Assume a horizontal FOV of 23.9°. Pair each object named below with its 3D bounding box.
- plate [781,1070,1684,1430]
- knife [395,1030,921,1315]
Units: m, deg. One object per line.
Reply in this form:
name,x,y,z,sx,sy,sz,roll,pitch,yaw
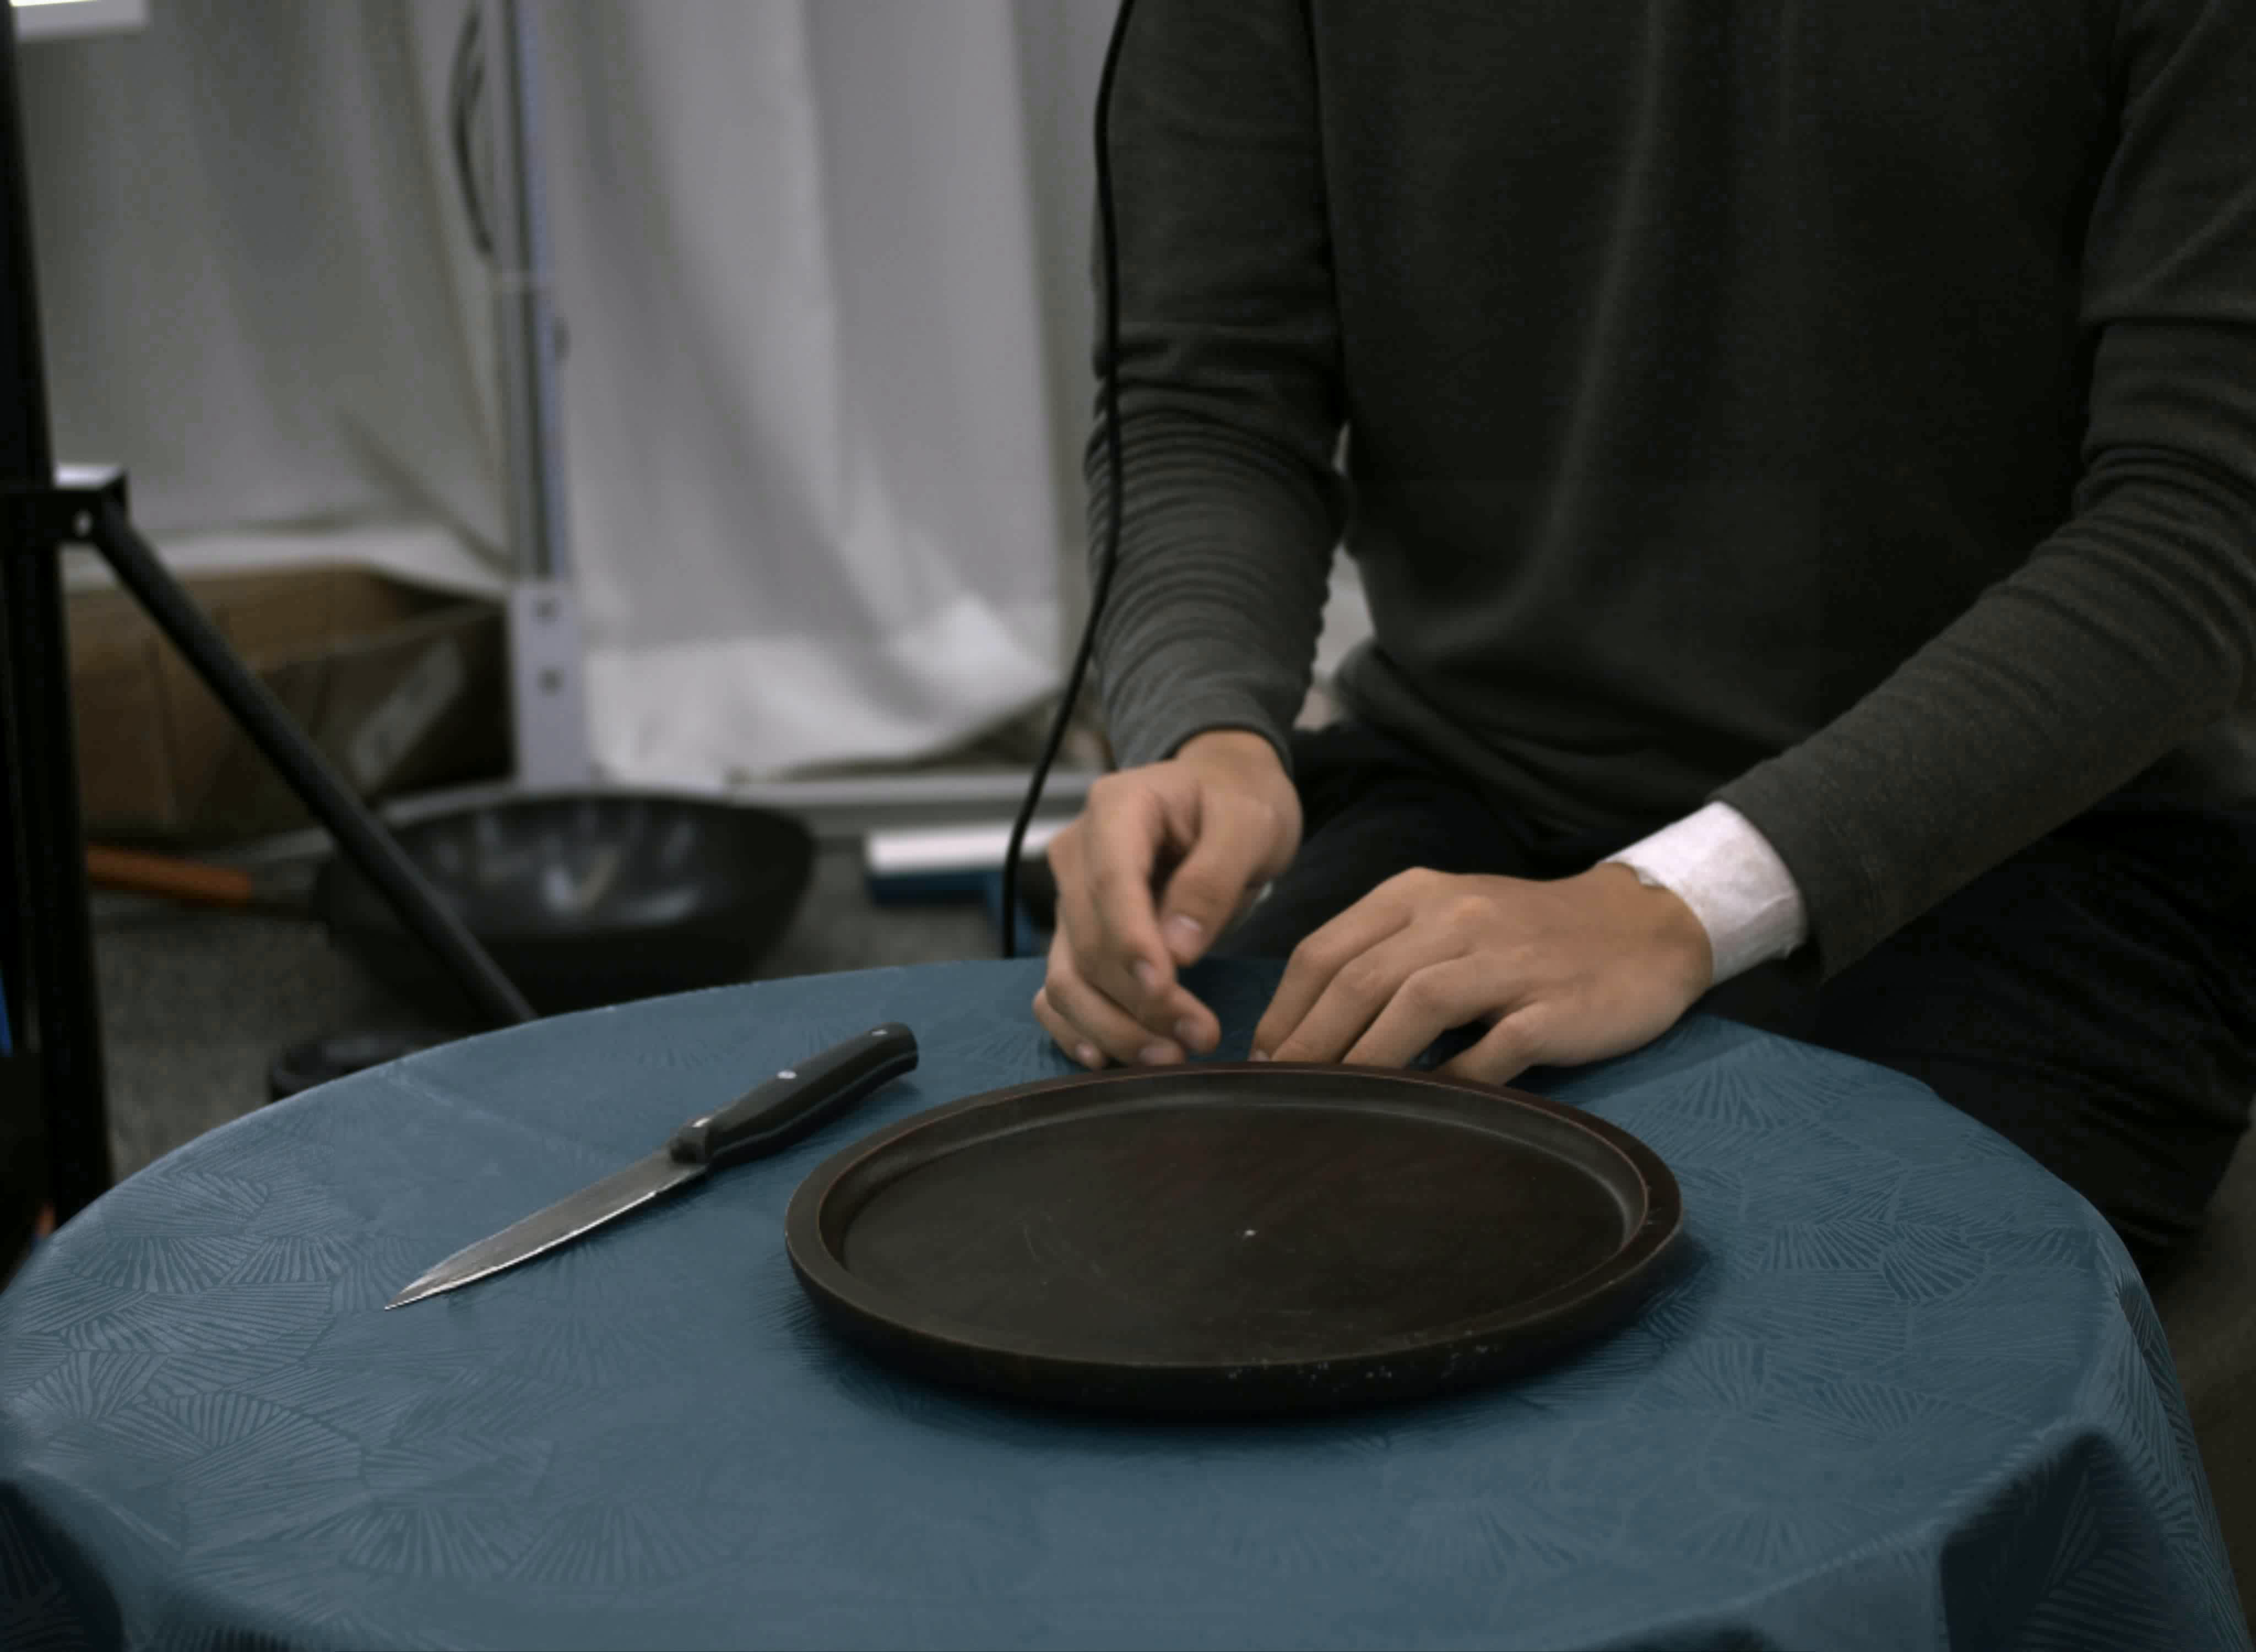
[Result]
plate,0.029,0.115,1.490,0.253,0.029,0.256,-3,17,-1
knife,-0.139,0.103,1.583,0.025,0.016,0.233,12,24,34
